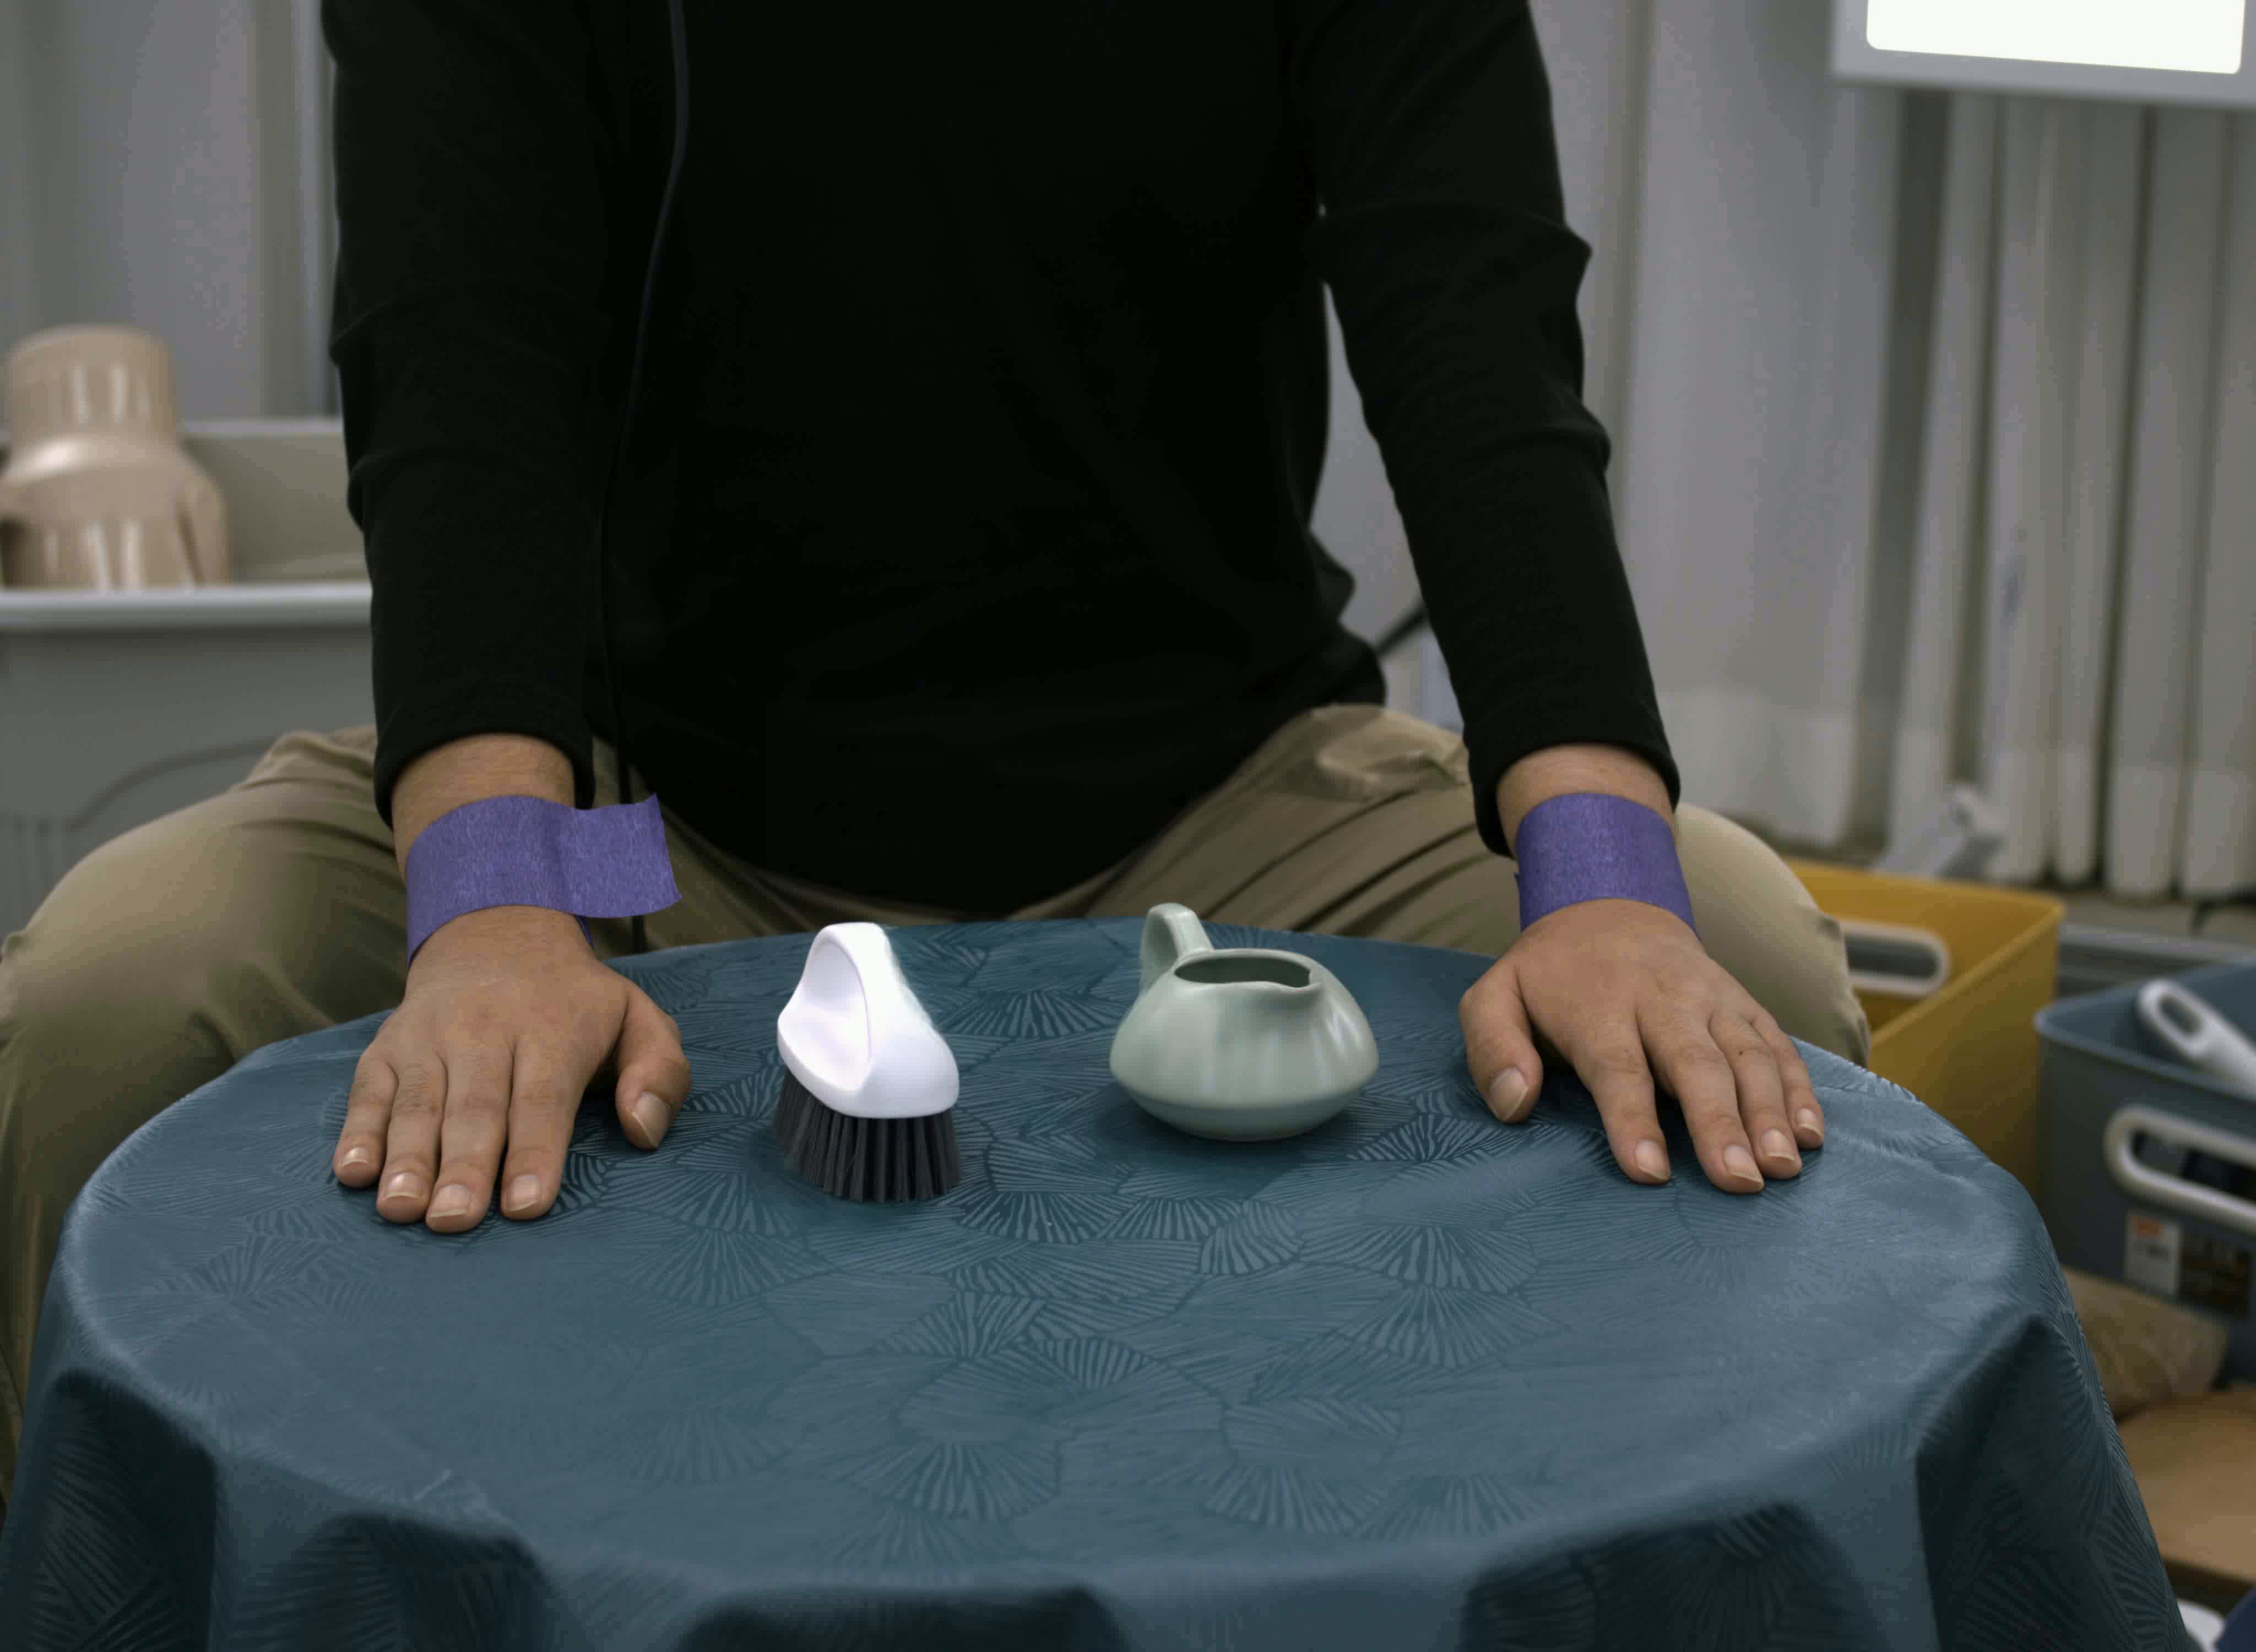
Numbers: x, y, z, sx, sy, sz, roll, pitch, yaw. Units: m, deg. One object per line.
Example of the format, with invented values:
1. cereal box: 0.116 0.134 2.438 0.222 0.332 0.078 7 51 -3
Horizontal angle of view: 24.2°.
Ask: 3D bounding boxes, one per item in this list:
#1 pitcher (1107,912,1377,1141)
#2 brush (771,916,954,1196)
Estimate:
1. pitcher: 0.031 0.065 1.691 0.086 0.061 0.106 -8 15 -29
2. brush: -0.083 0.067 1.643 0.050 0.073 0.098 -2 17 -15
